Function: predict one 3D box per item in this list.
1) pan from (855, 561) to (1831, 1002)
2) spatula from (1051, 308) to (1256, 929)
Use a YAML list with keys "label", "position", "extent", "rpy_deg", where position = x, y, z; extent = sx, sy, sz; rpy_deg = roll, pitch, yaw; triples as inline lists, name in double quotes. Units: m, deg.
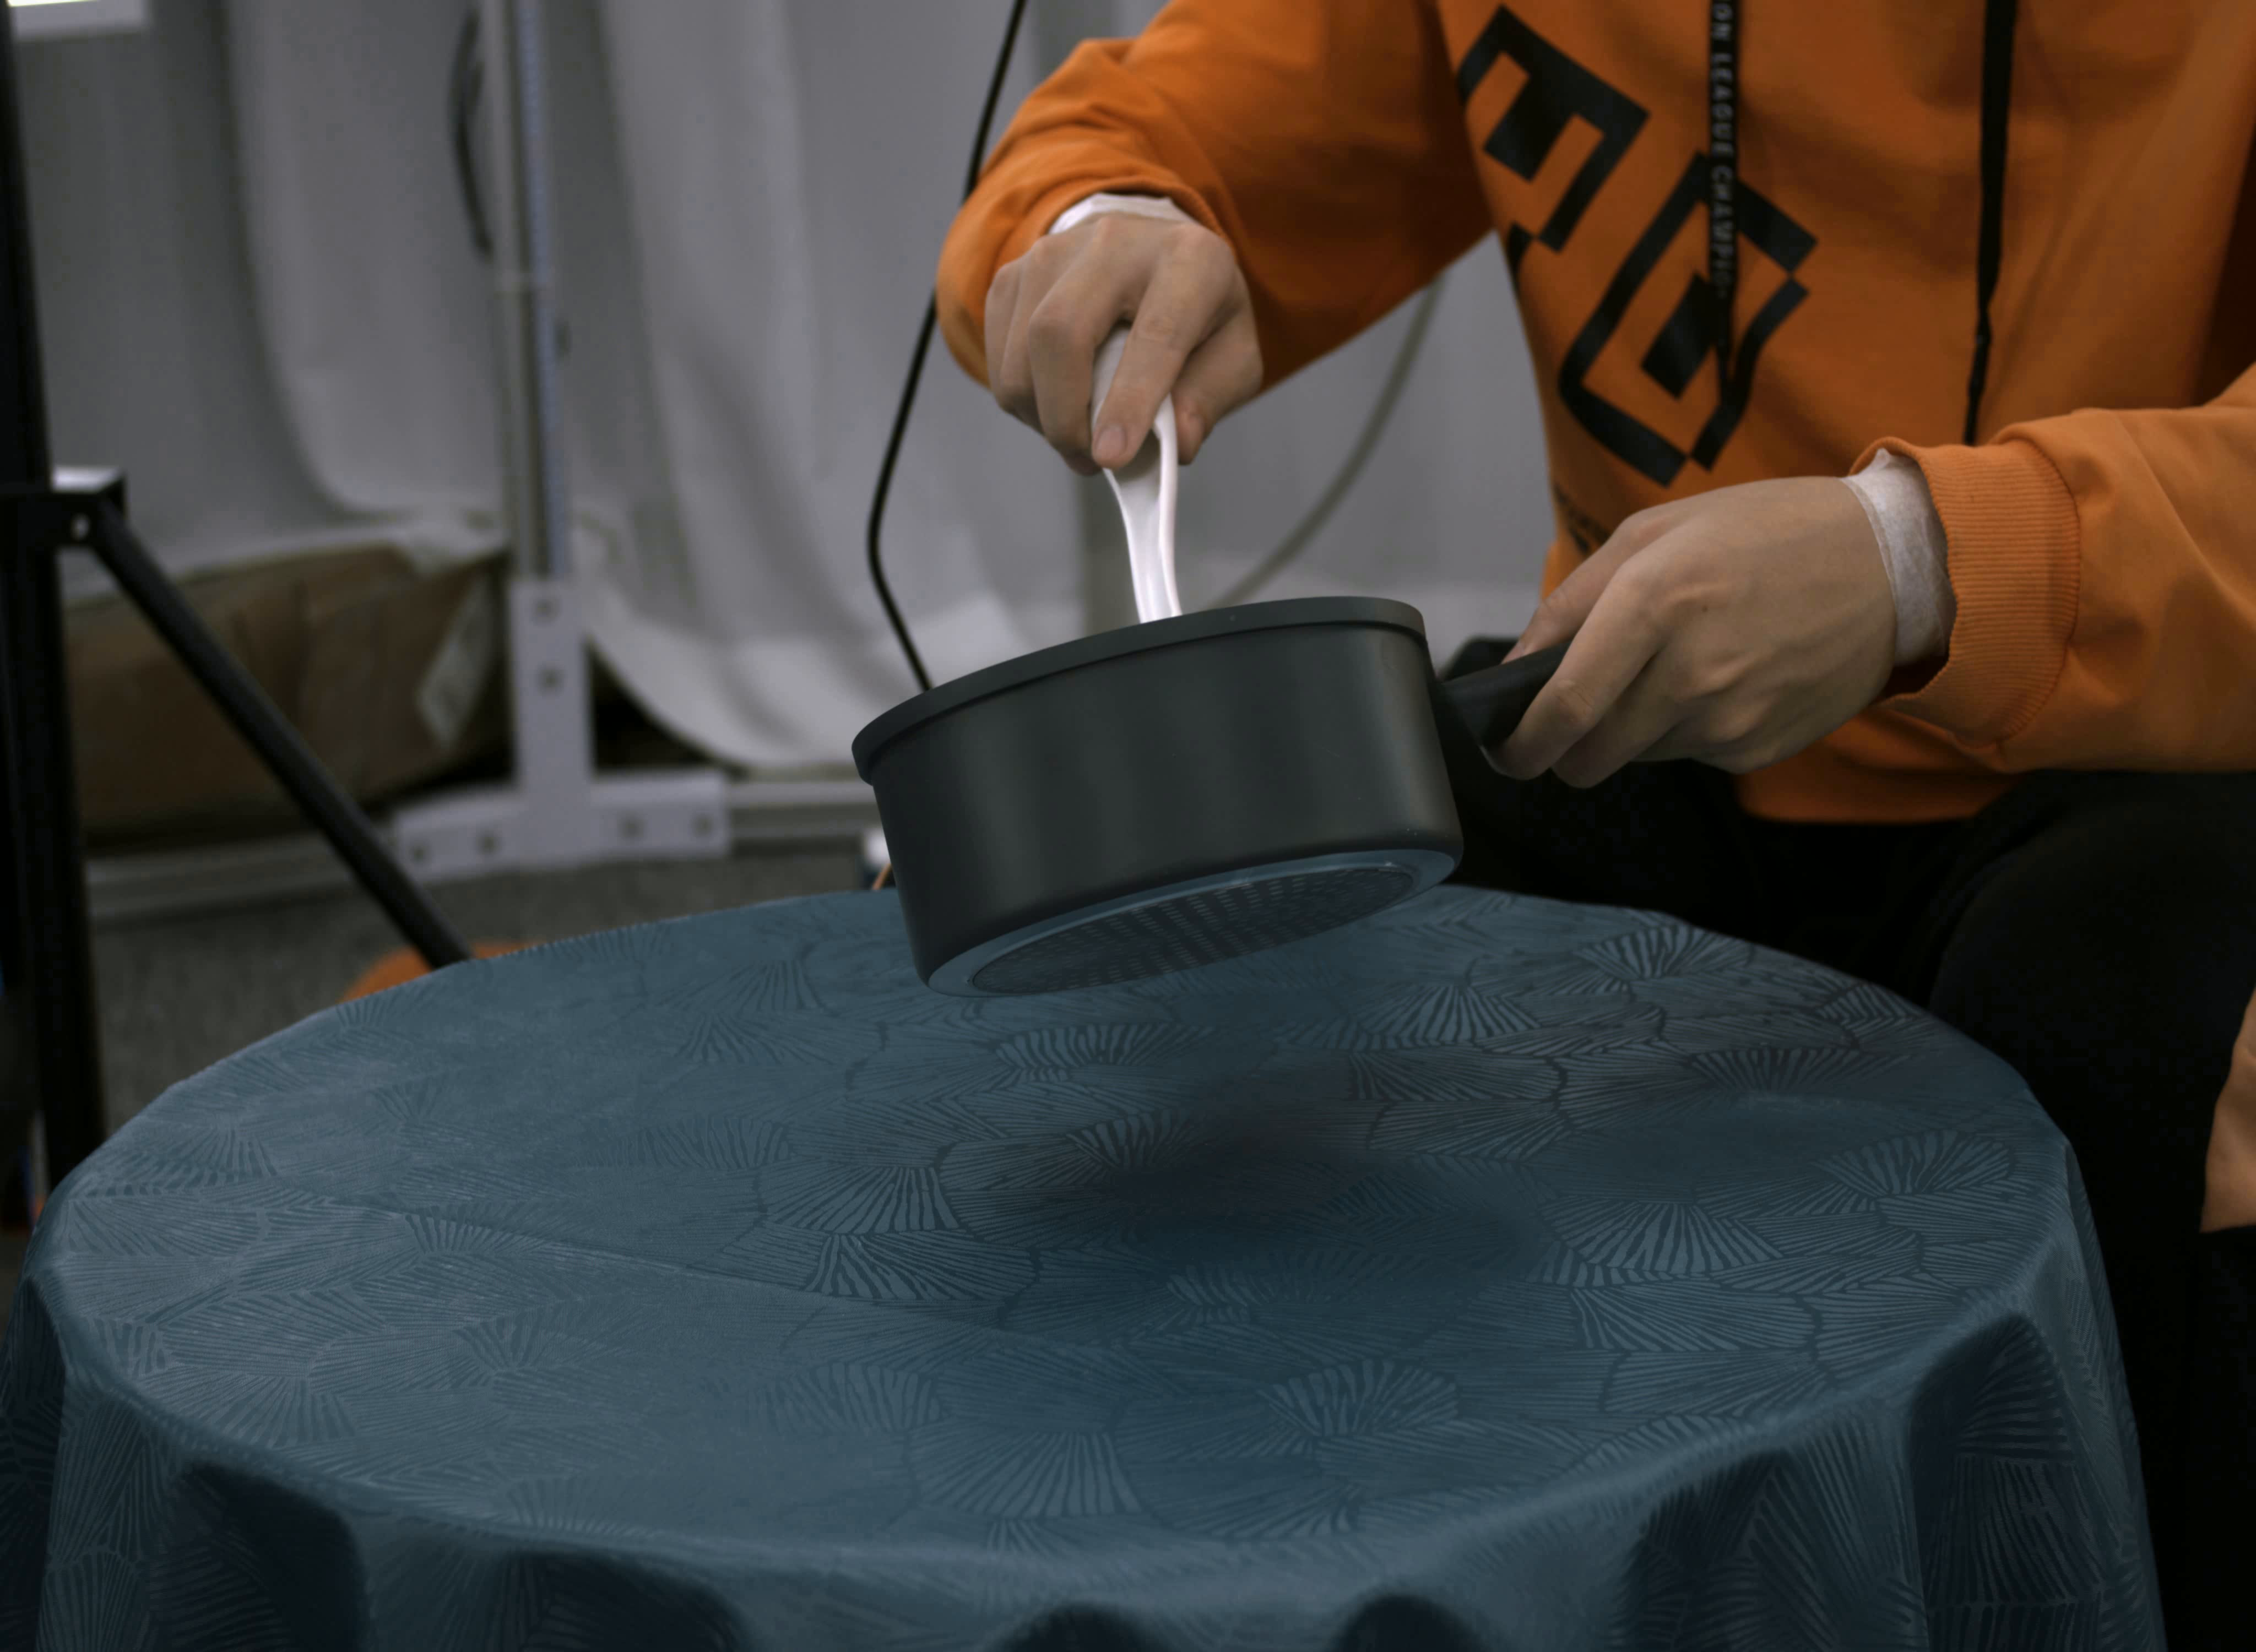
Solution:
- label: "pan"
  position: [0.078, -0.017, 1.580]
  extent: [0.321, 0.087, 0.174]
  rpy_deg: [-9, -10, -28]
- label: "spatula"
  position: [0.018, -0.073, 1.649]
  extent: [0.031, 0.059, 0.292]
  rpy_deg: [30, 24, -30]
